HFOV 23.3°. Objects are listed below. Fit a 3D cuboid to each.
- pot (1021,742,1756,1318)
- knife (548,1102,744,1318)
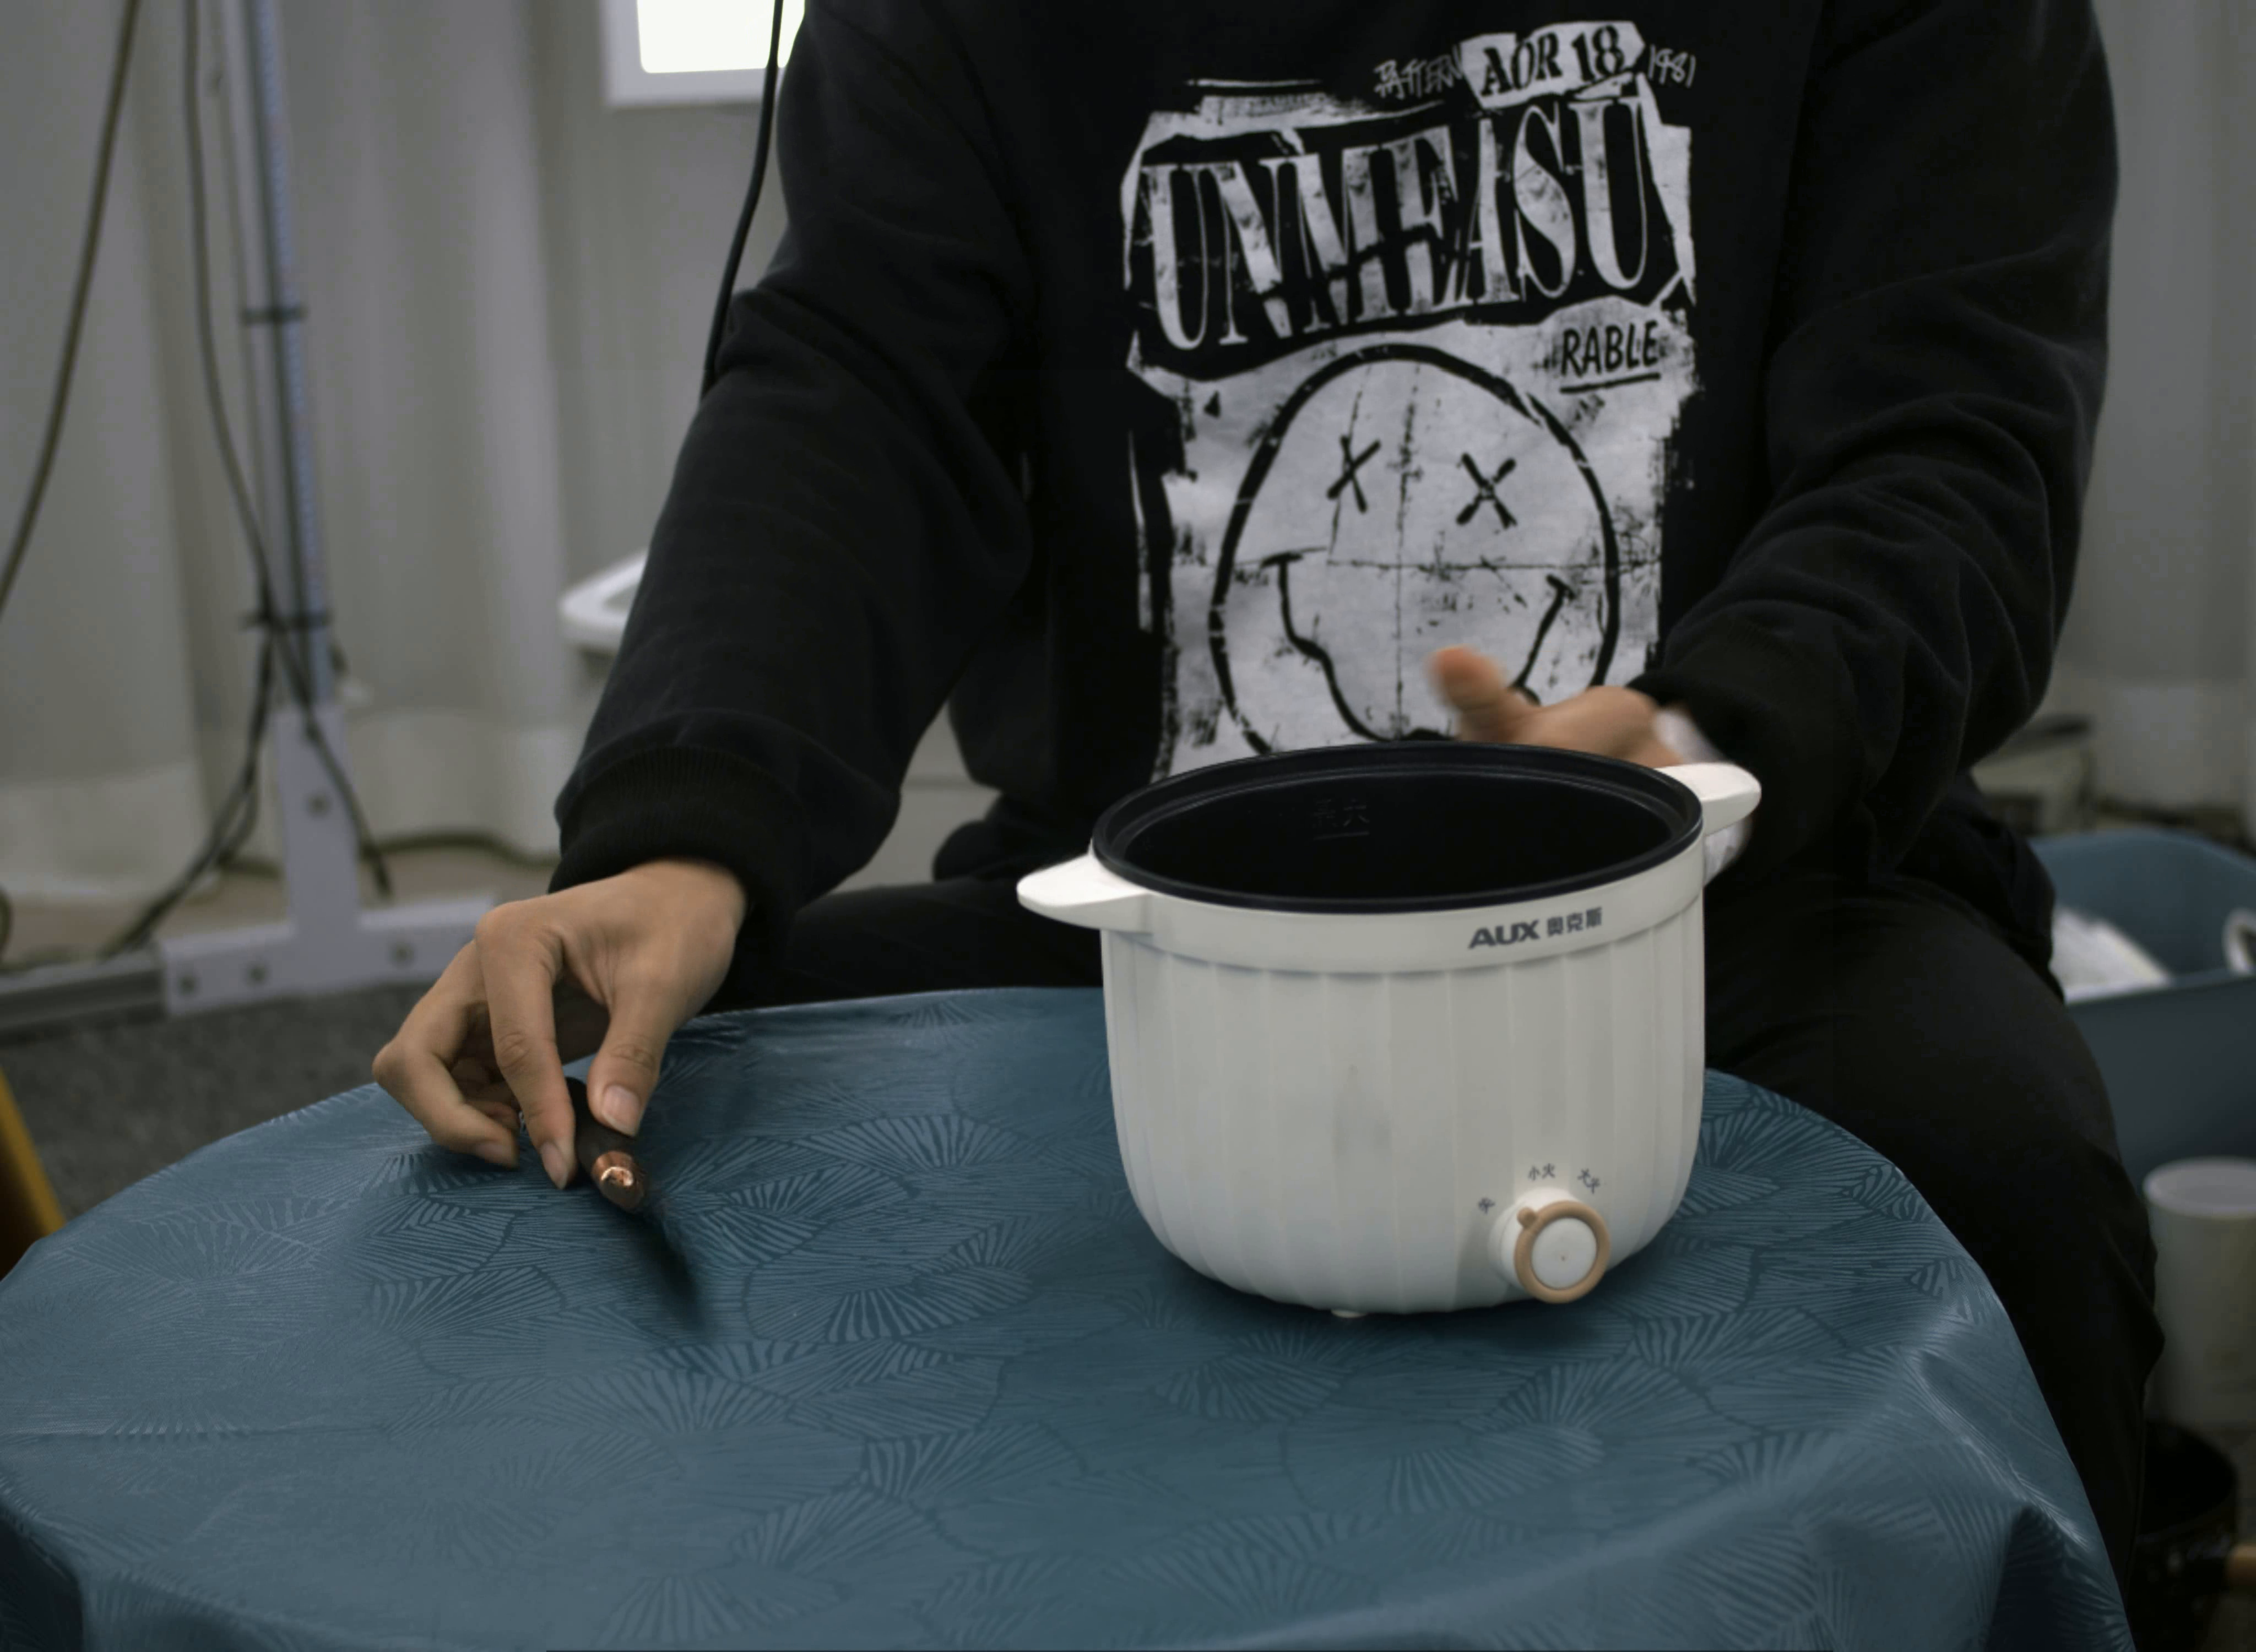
[{"bbox_3d":[0.086,0.063,1.626,0.239,0.142,0.192,-10,13,-22],"label":"pot"},{"bbox_3d":[-0.151,0.118,1.701,0.017,0.026,0.227,-48,20,-4],"label":"knife"}]
